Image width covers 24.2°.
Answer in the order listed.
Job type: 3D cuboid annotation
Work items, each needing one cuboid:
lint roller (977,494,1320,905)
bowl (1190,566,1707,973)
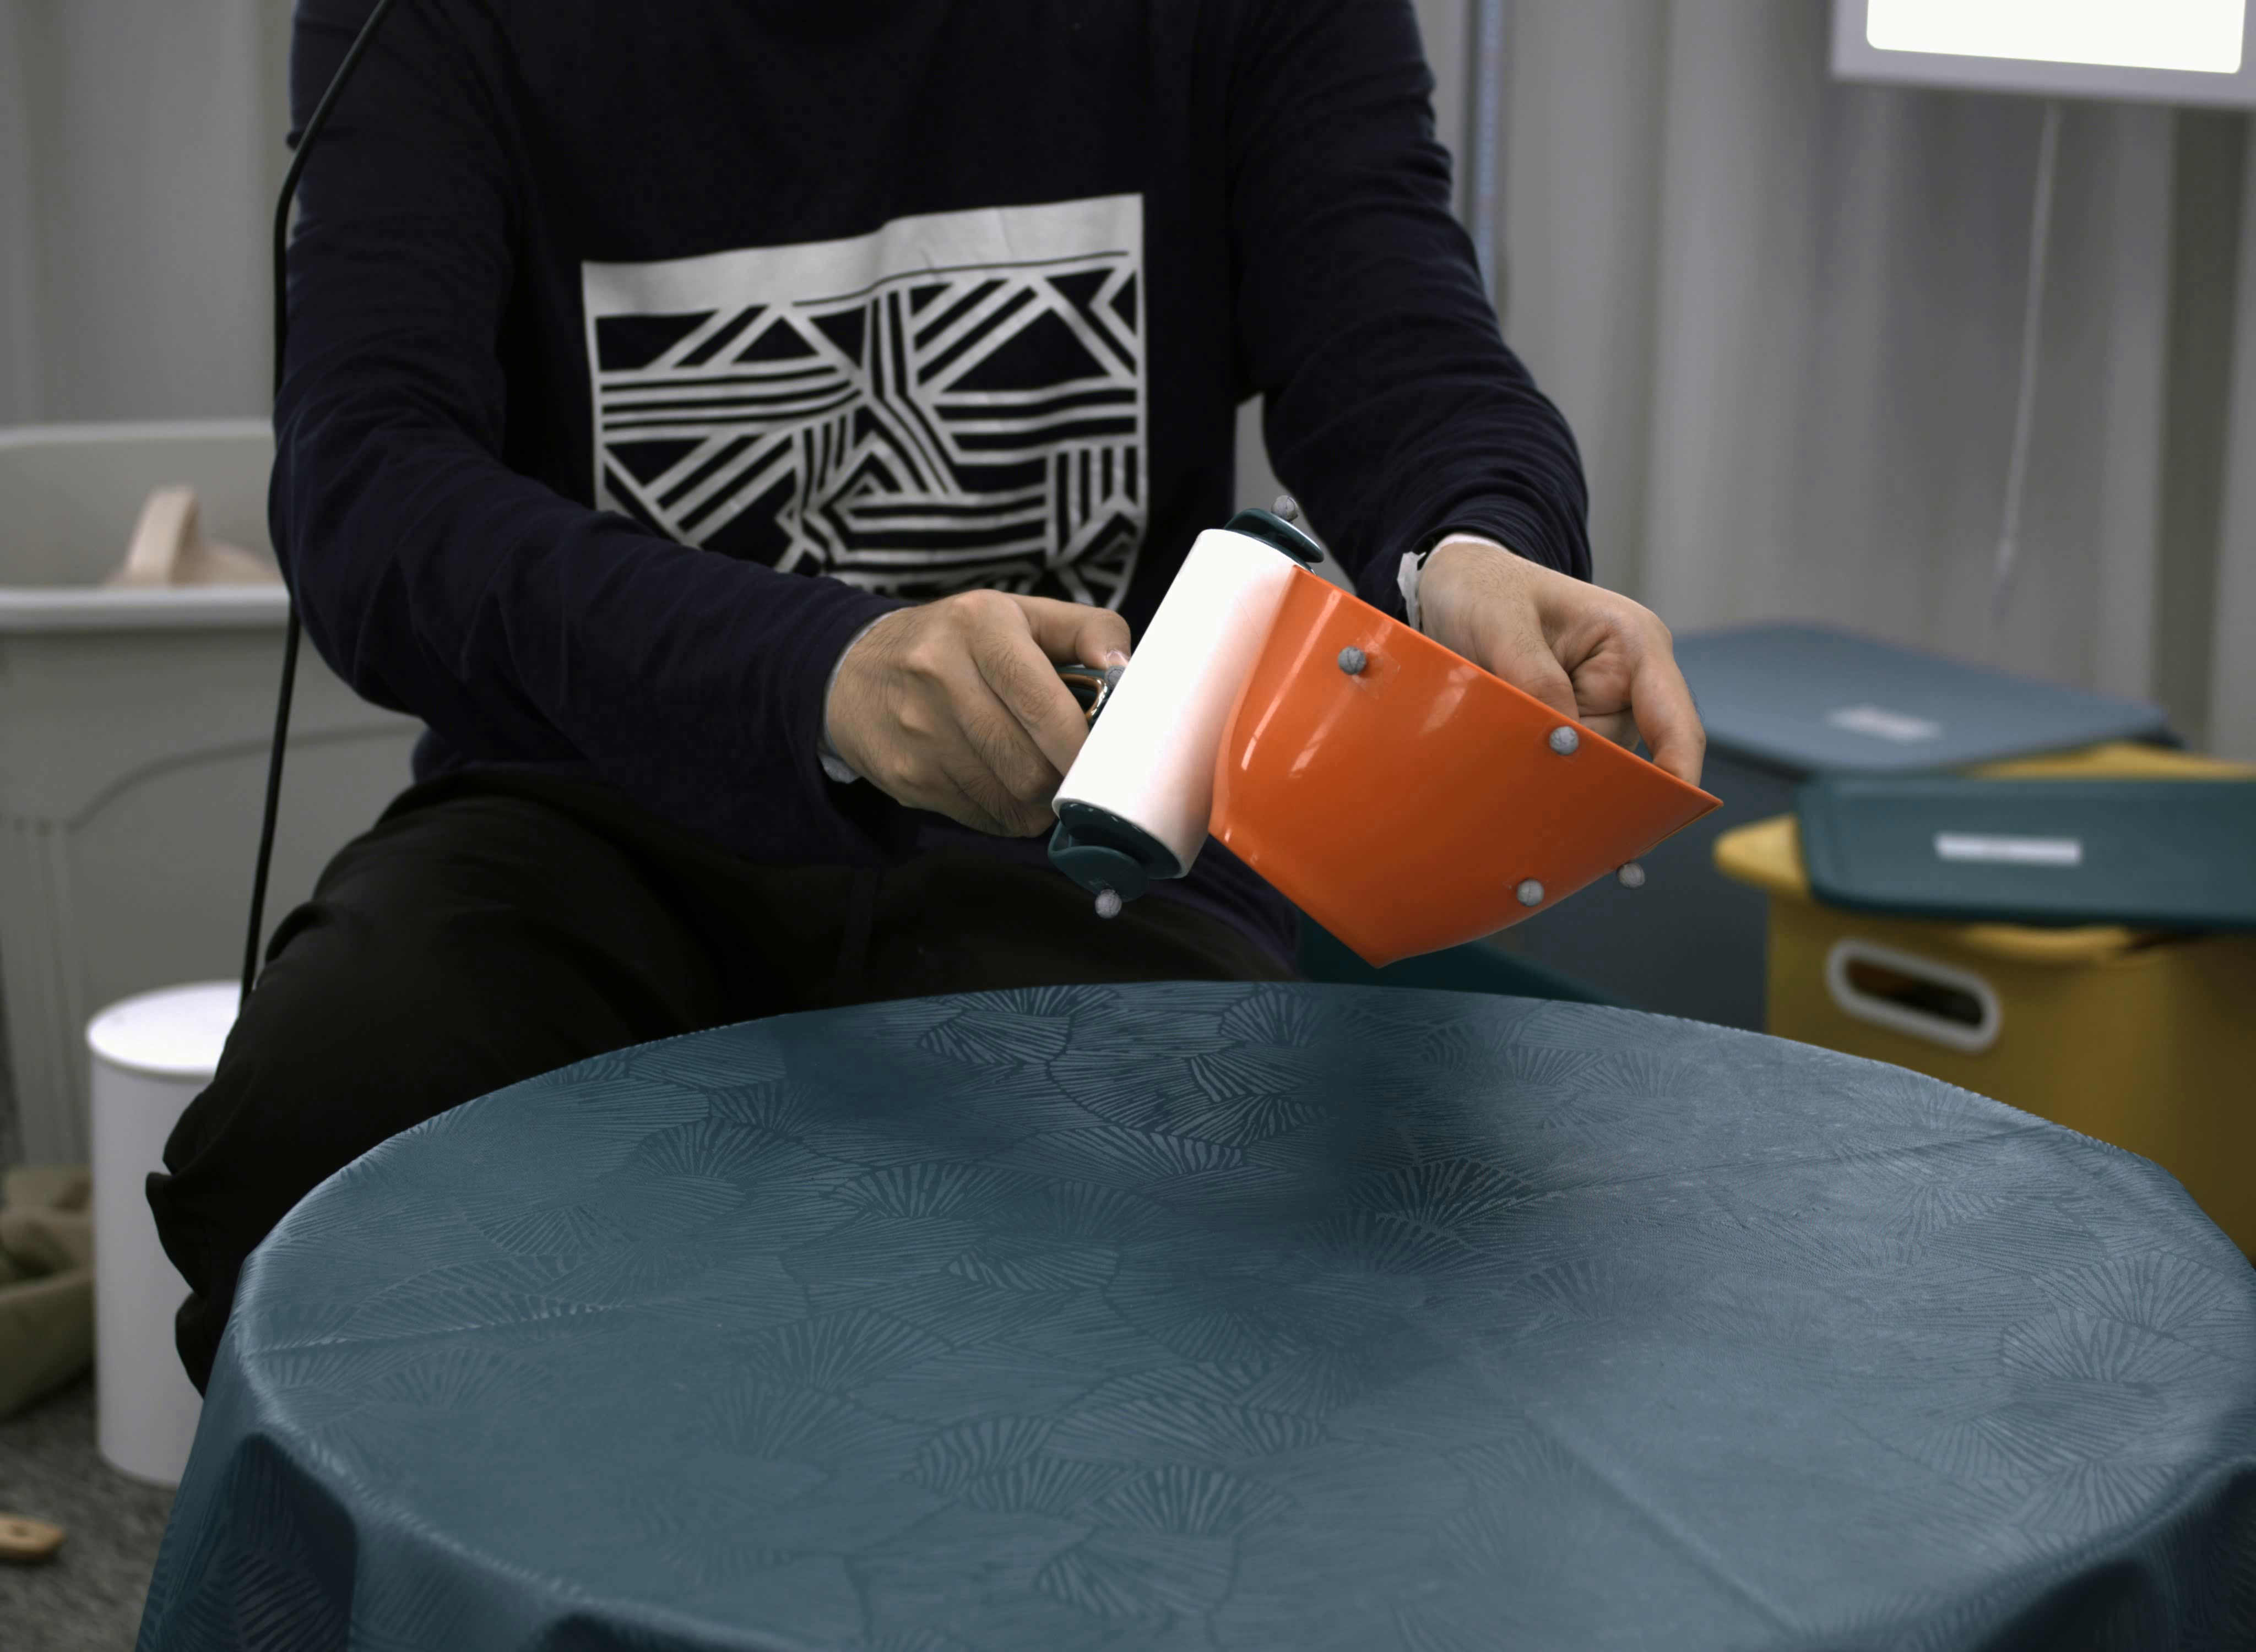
[{"bbox_3d":[-0.015,-0.037,1.684,0.049,0.134,0.178,36,-18,-26],"label":"lint roller"},{"bbox_3d":[0.085,-0.009,1.587,0.148,0.104,0.148,38,-1,1],"label":"bowl"}]
